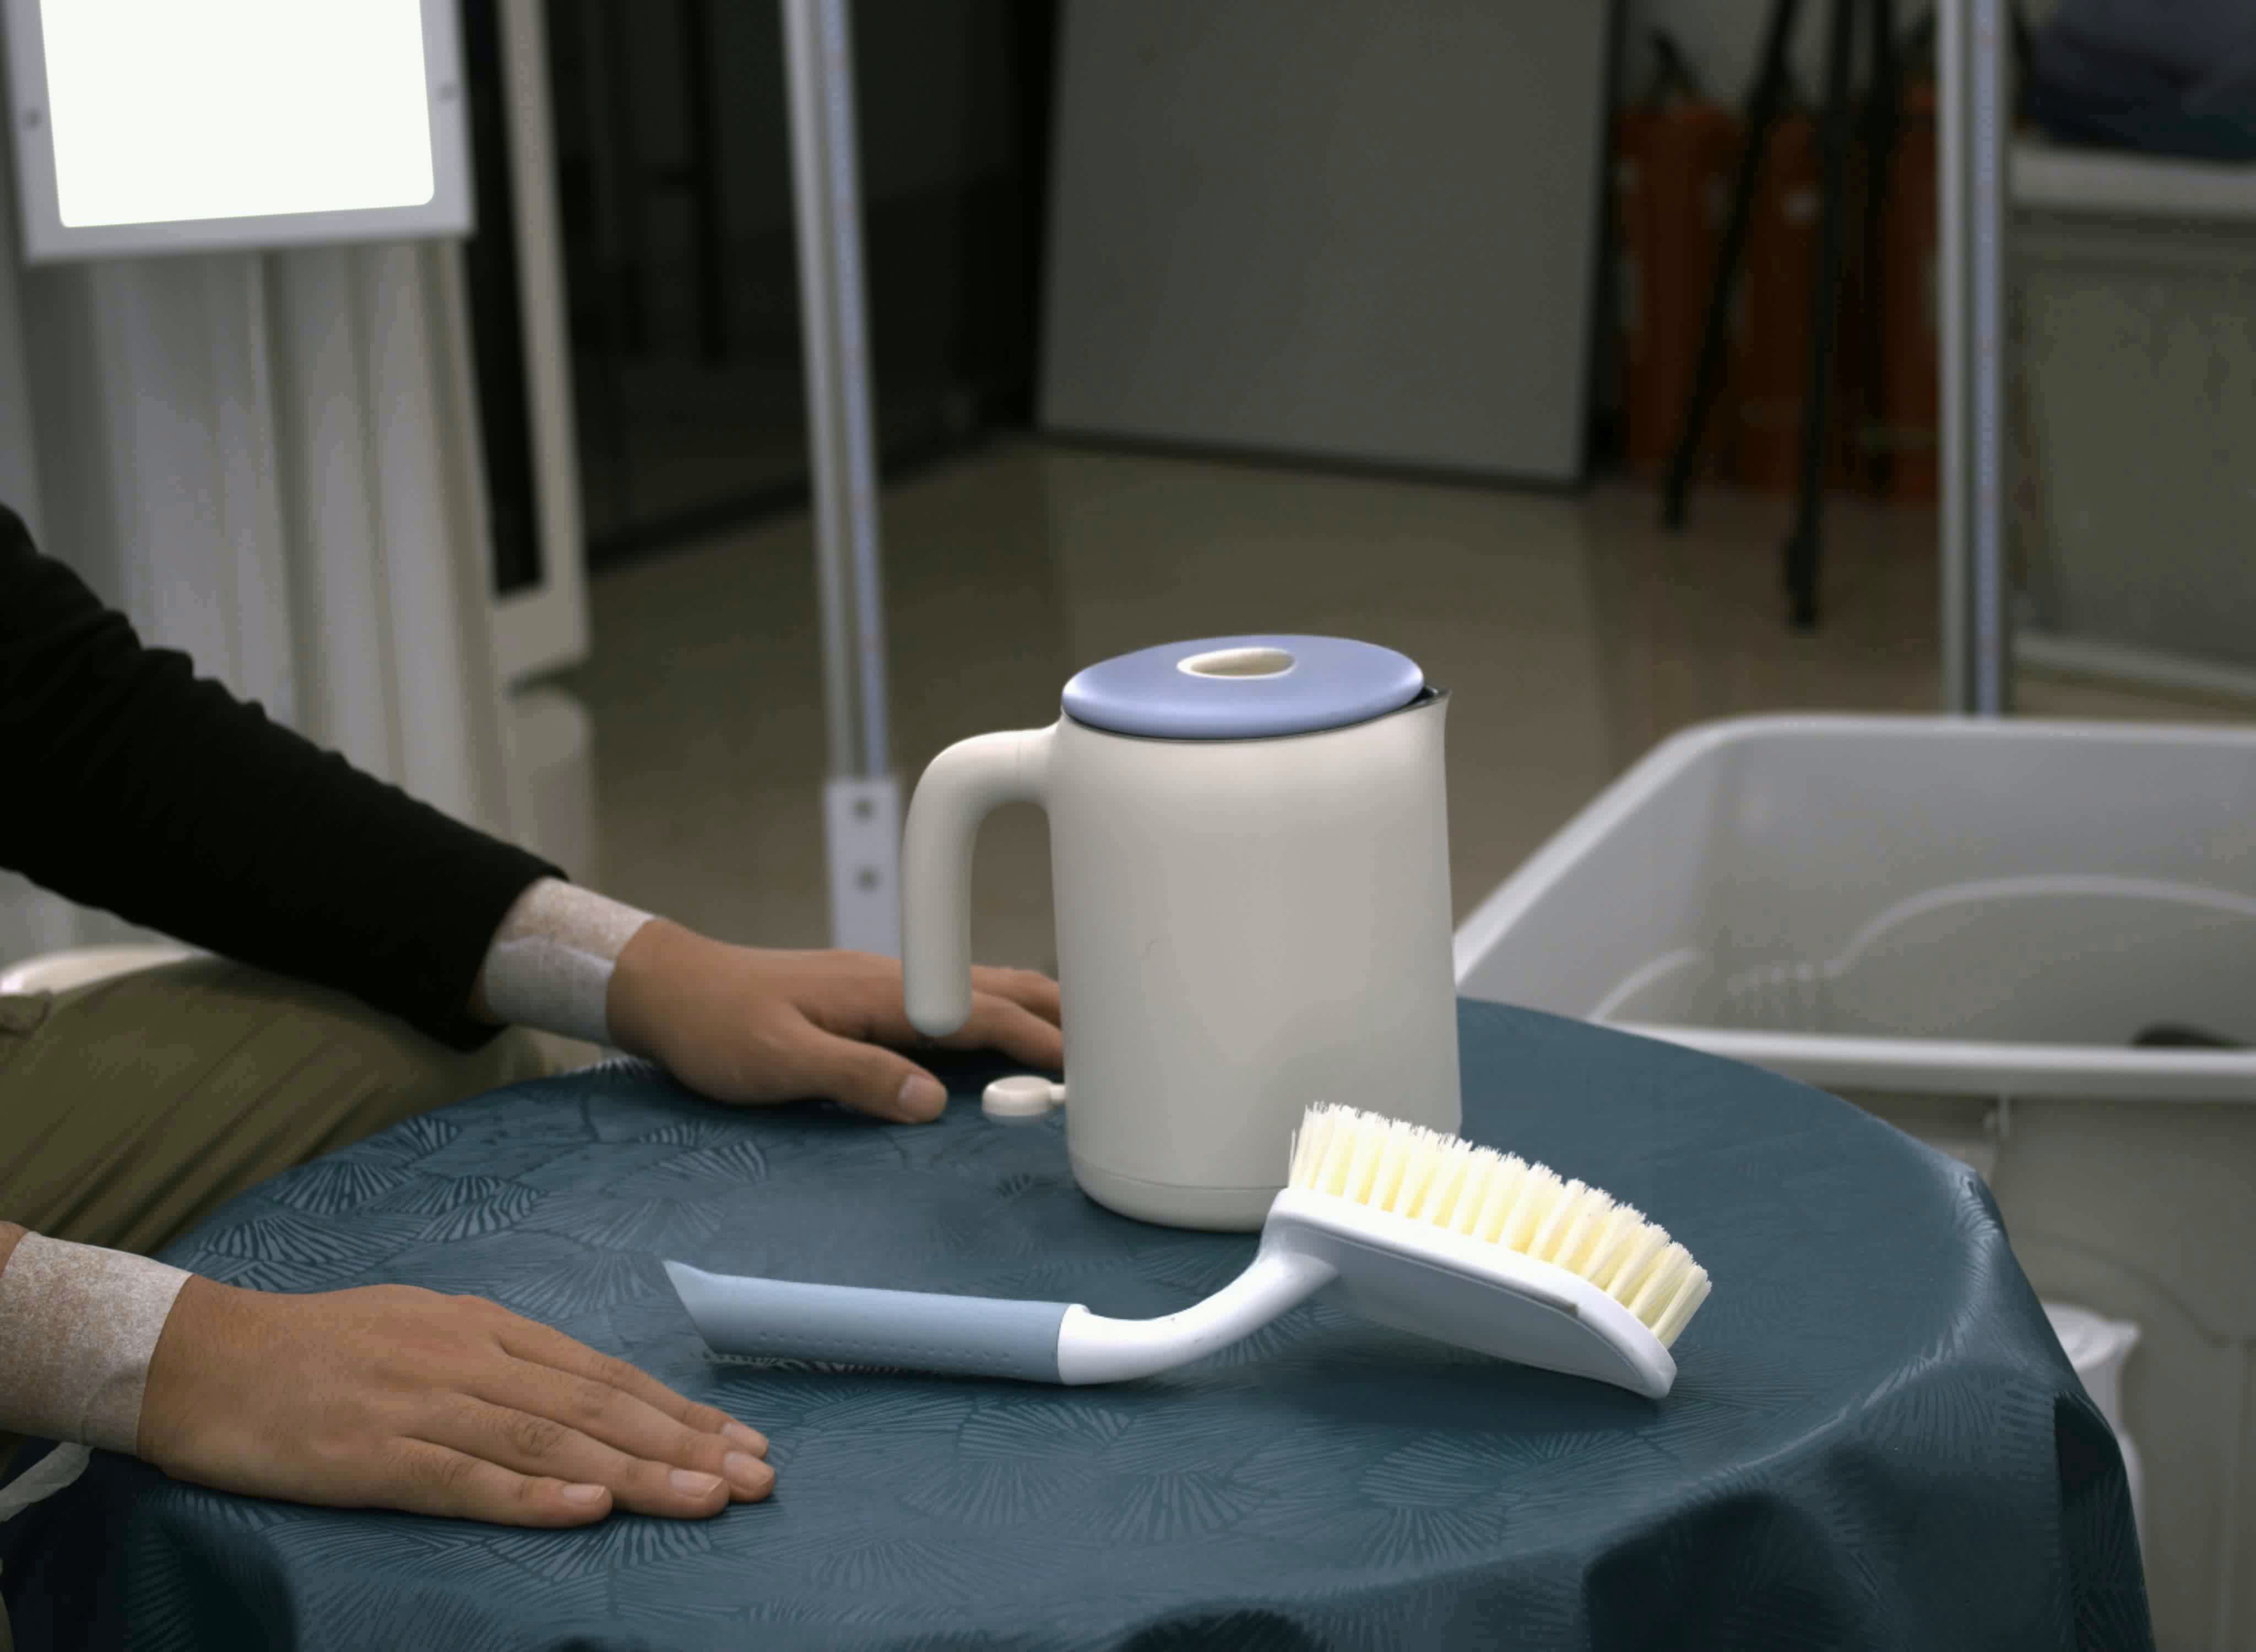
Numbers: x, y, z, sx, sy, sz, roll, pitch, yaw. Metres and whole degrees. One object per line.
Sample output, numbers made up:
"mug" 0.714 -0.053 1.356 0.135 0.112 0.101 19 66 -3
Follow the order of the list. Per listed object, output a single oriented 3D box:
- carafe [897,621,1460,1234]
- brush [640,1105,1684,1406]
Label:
"carafe" 0.017 0.033 1.760 0.190 0.184 0.131 -3 13 11
"brush" 0.008 0.120 1.601 0.325 0.084 0.084 2 21 21
